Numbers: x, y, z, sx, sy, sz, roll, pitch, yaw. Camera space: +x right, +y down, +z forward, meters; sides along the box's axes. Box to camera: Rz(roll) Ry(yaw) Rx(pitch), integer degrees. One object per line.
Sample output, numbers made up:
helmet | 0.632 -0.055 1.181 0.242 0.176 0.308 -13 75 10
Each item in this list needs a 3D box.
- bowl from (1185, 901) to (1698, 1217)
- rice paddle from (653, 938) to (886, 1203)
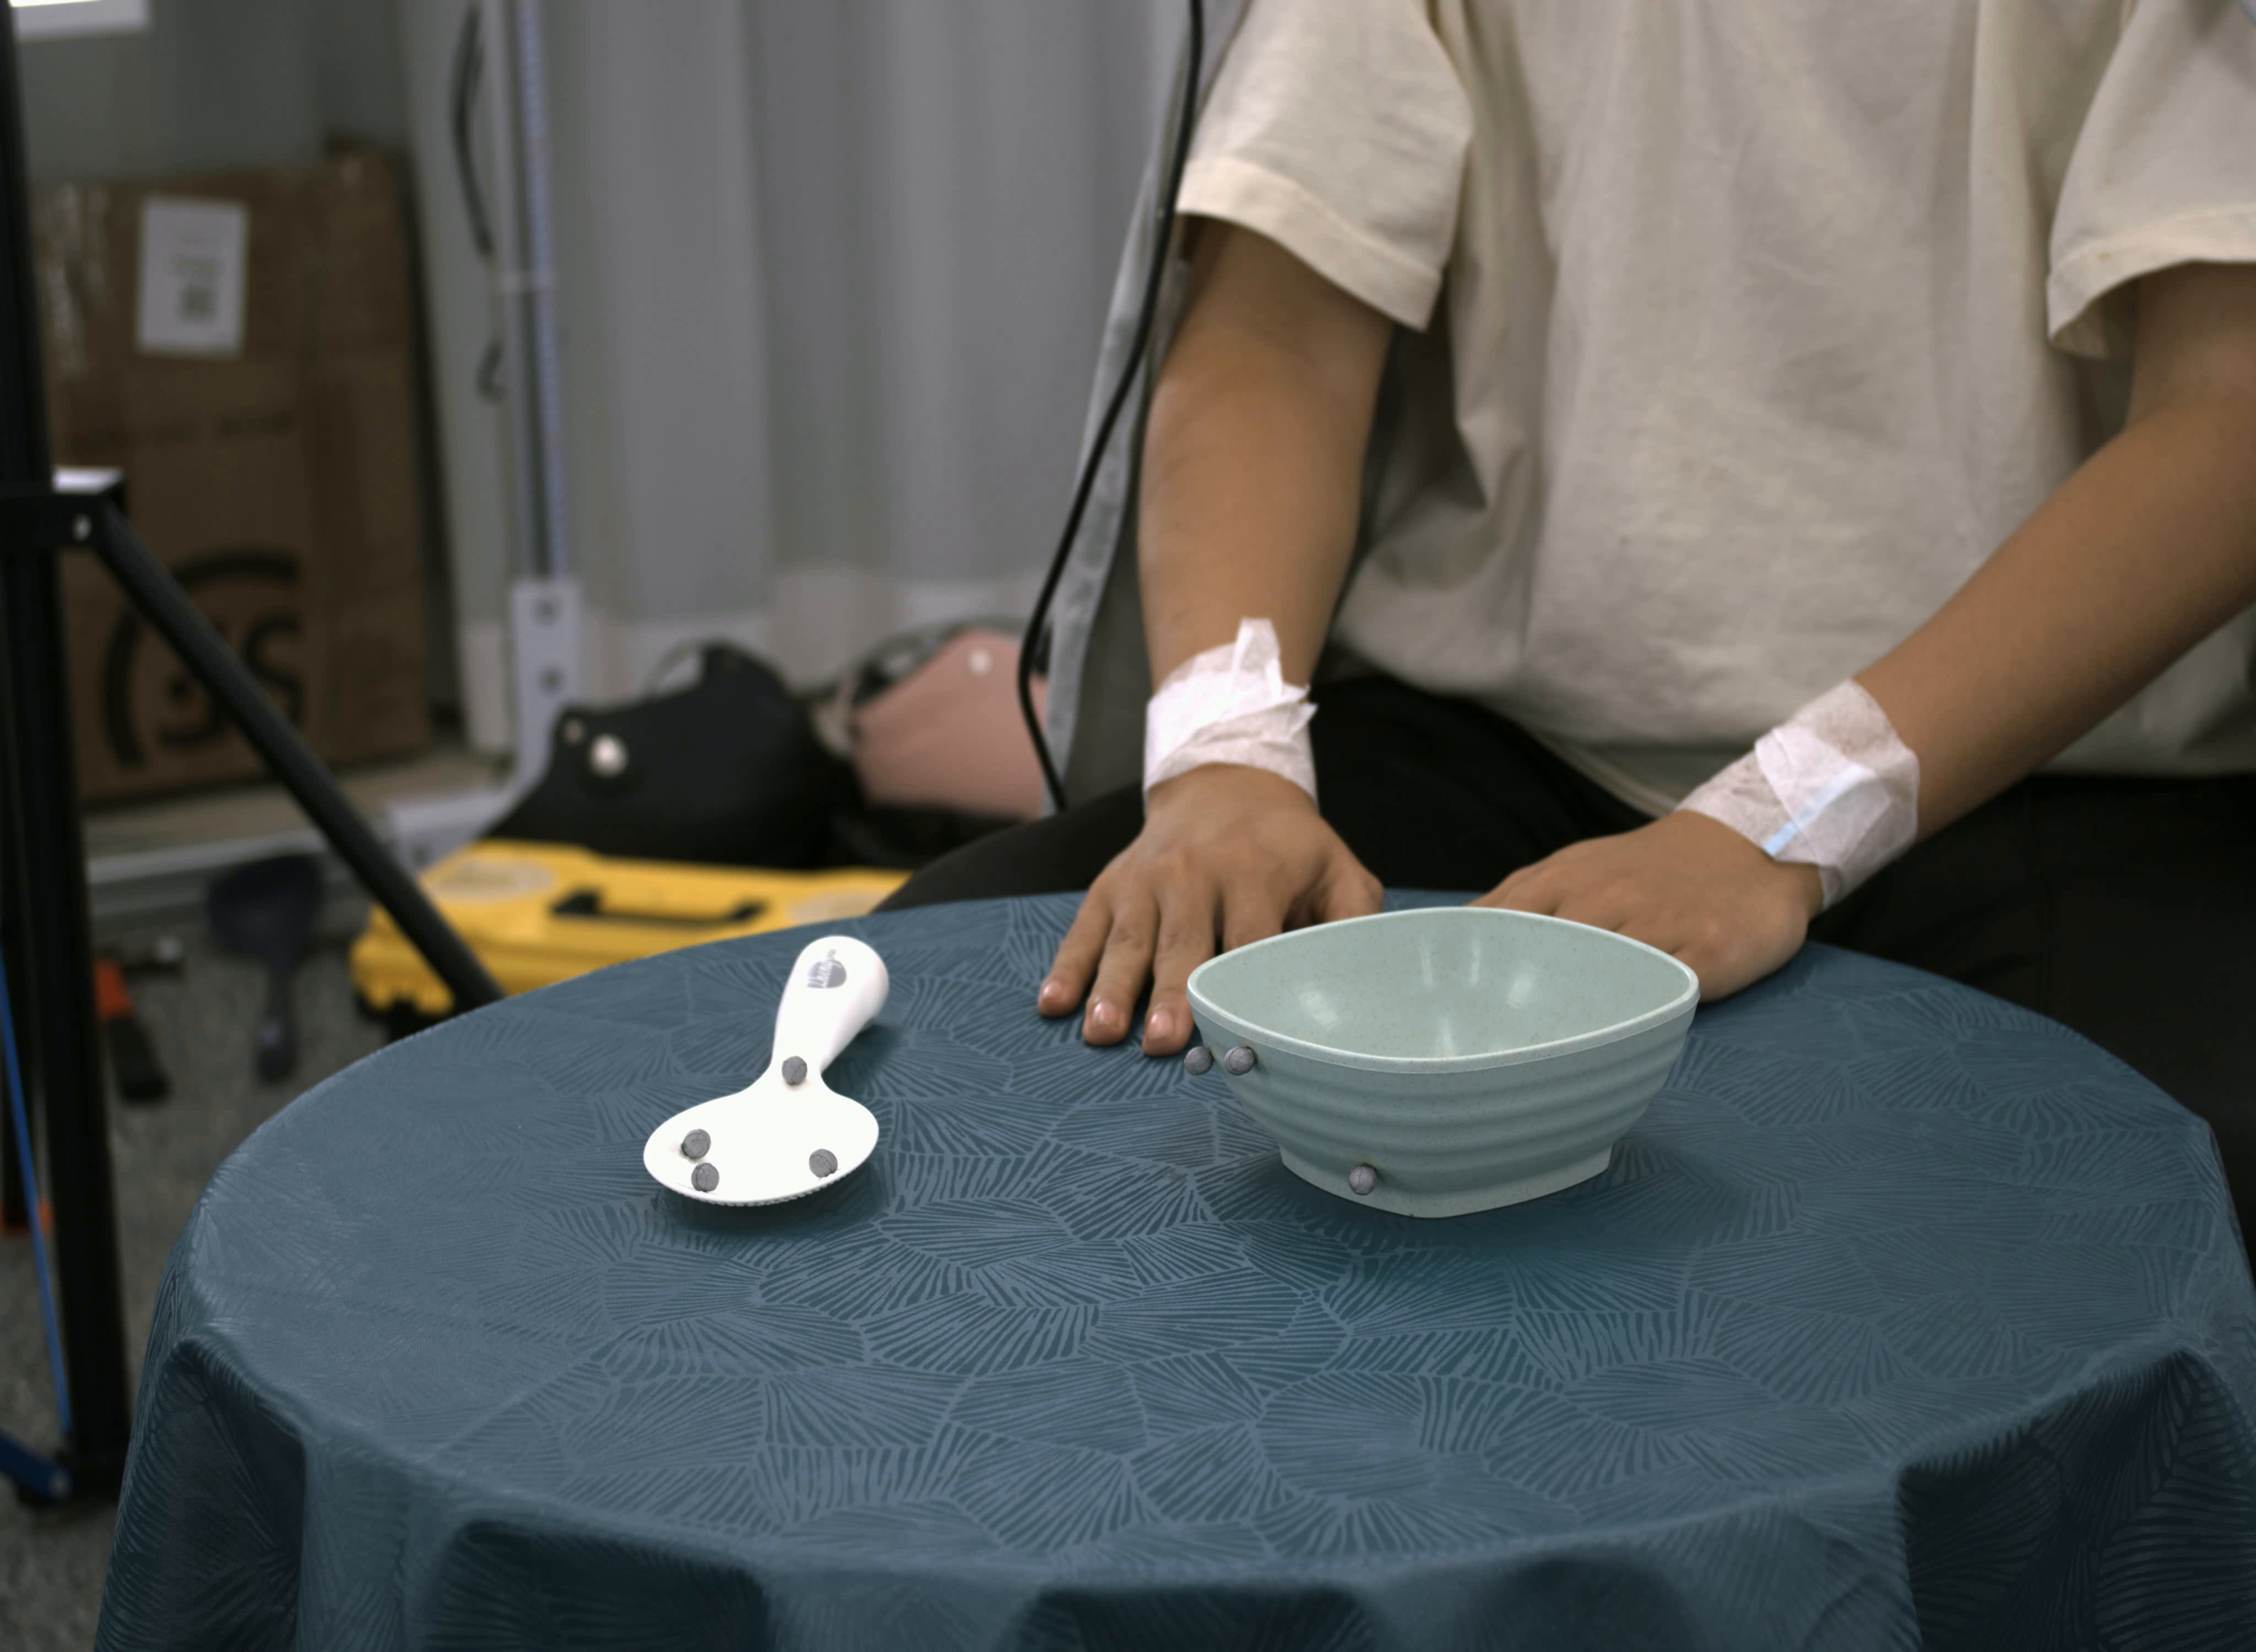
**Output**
bowl | 0.094 0.072 1.558 0.151 0.058 0.152 -6 15 0
rice paddle | -0.101 0.077 1.627 0.069 0.029 0.205 -3 15 6
